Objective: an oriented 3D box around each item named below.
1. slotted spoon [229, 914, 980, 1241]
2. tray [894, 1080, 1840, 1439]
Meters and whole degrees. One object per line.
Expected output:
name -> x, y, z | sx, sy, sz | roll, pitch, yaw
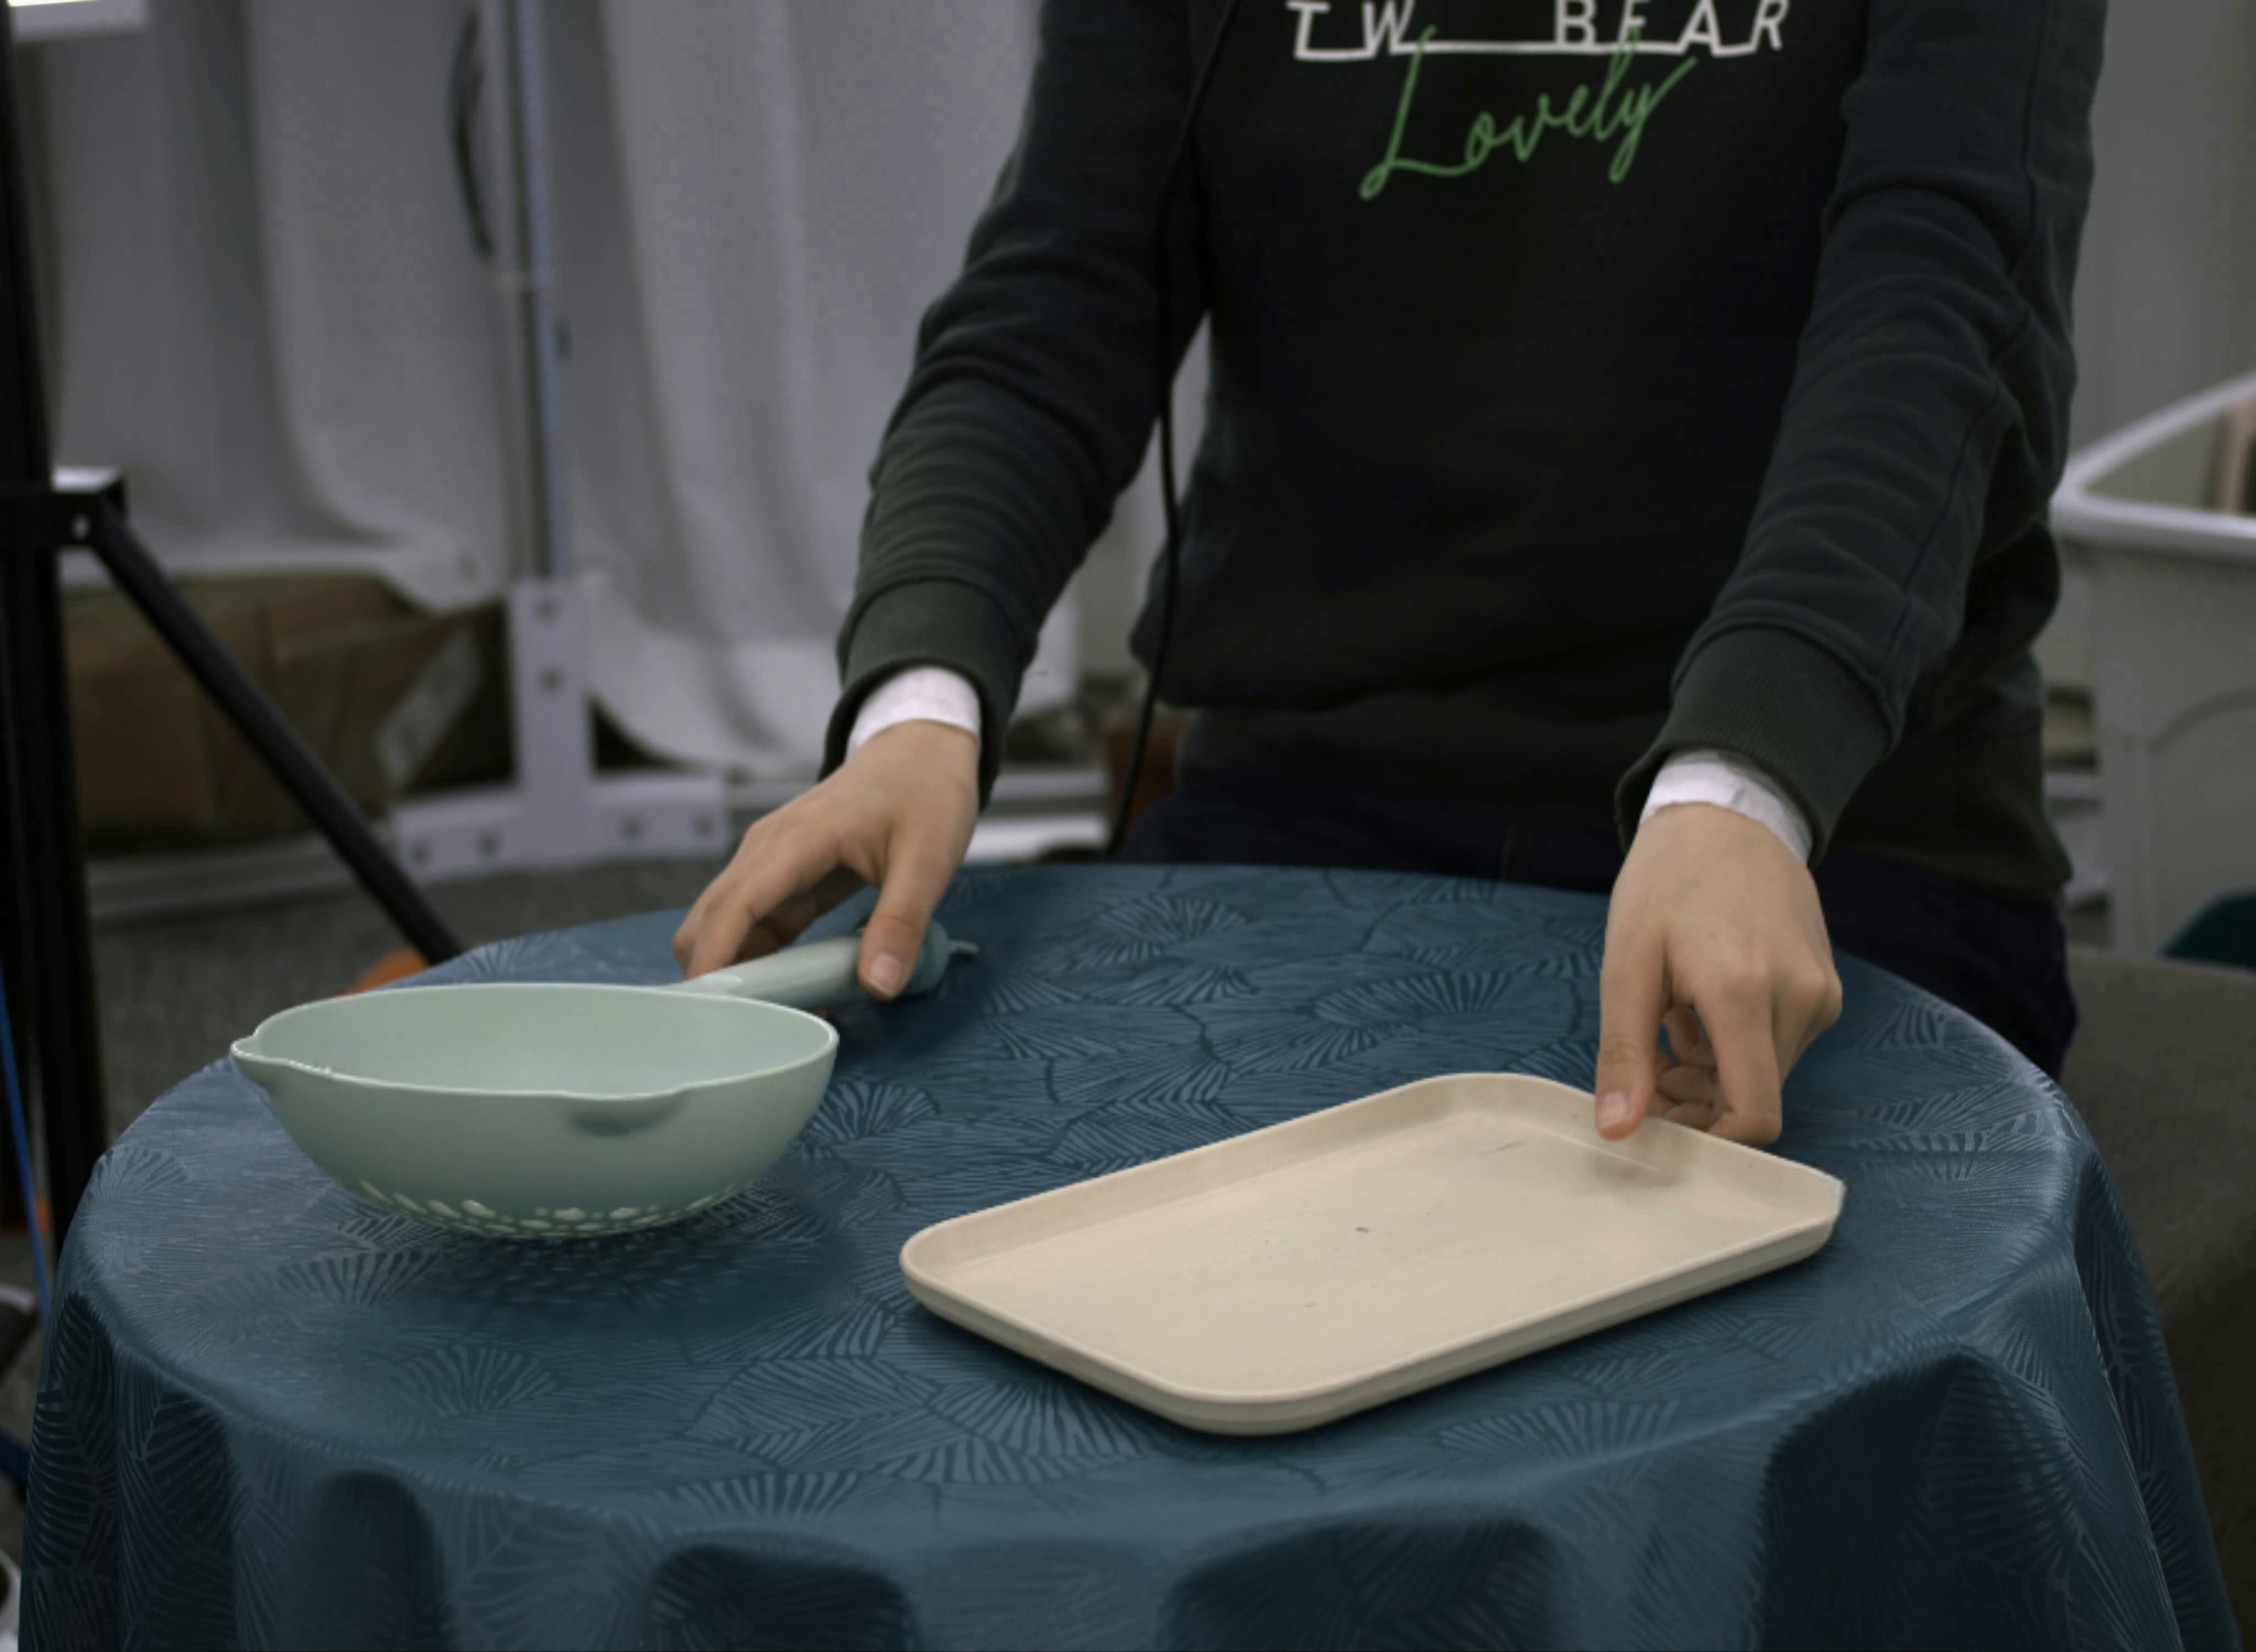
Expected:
slotted spoon -> -0.129, 0.061, 1.630 | 0.172, 0.075, 0.353 | 5, 17, 24
tray -> 0.068, 0.119, 1.477 | 0.234, 0.017, 0.175 | -13, 19, -35
